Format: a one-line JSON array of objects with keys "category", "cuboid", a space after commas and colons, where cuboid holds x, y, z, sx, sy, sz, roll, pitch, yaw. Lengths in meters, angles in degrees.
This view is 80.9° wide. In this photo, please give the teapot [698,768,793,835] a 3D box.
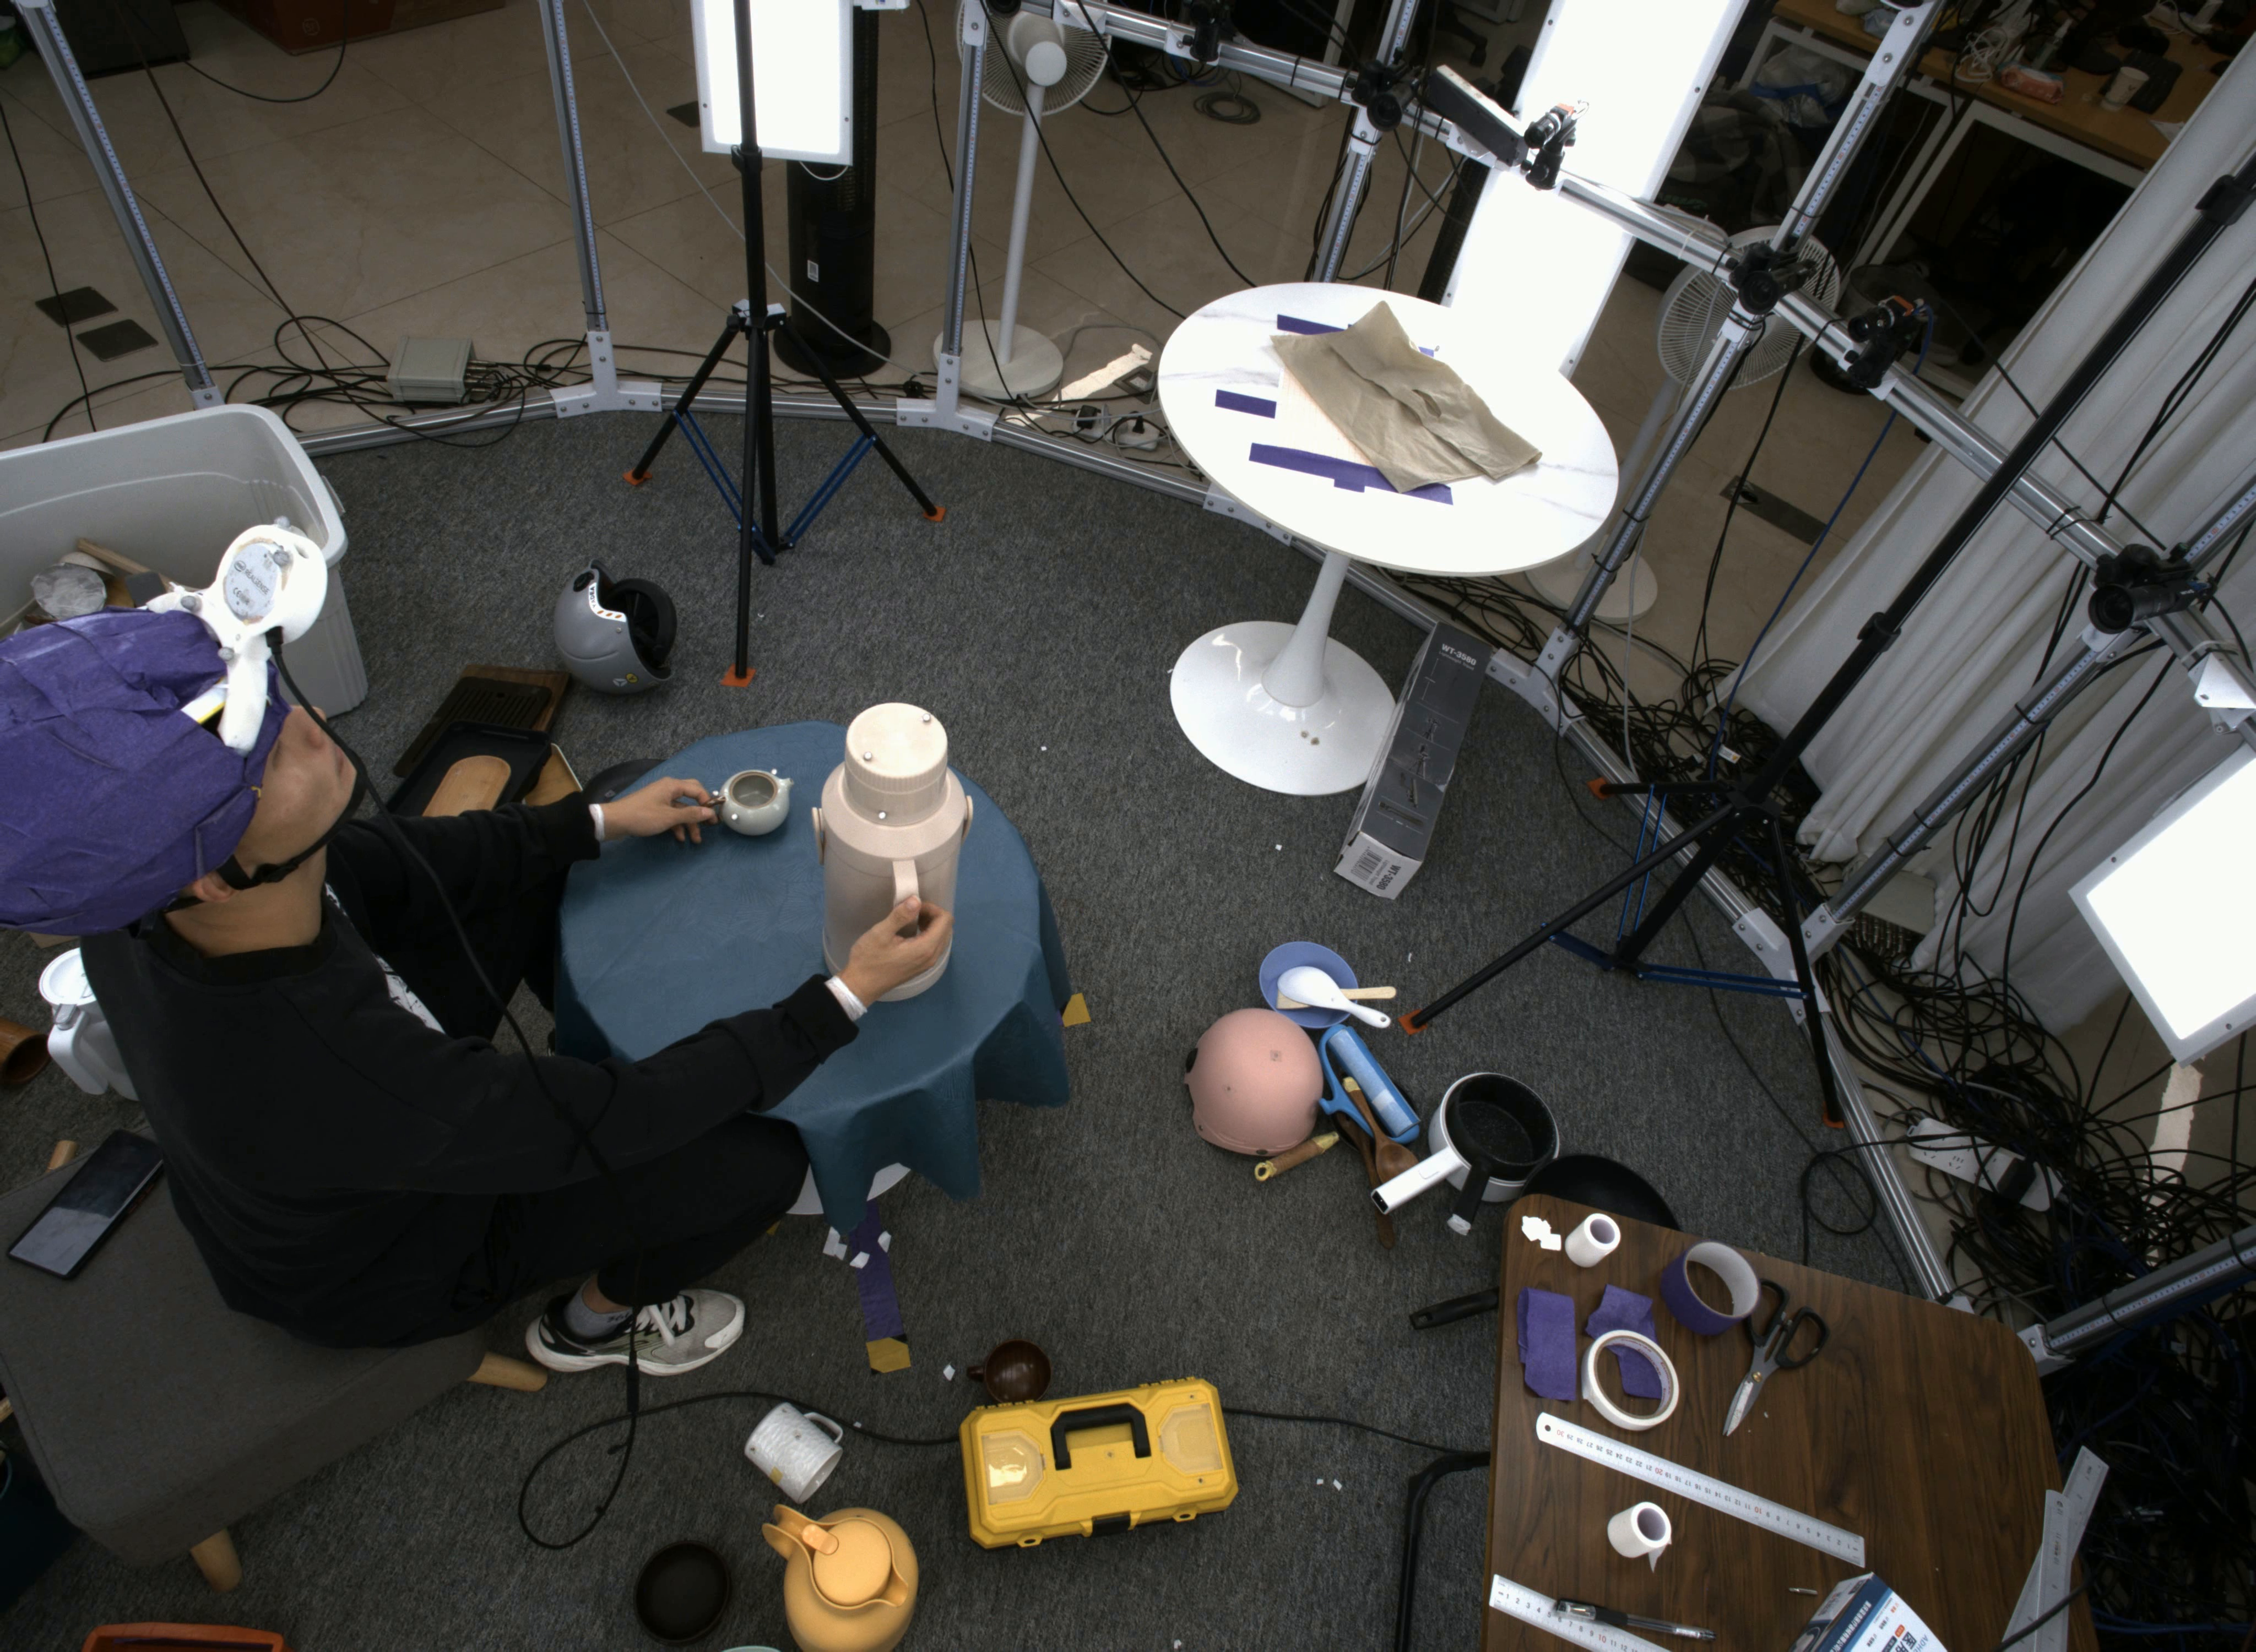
[{"category": "teapot", "cuboid": [-0.498, -0.030, 1.686, 0.129, 0.060, 0.090, -19, 64, -26]}]

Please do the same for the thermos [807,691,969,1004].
[{"category": "thermos", "cuboid": [-0.271, 0.039, 1.475, 0.176, 0.415, 0.202, -6, 53, -18]}]
